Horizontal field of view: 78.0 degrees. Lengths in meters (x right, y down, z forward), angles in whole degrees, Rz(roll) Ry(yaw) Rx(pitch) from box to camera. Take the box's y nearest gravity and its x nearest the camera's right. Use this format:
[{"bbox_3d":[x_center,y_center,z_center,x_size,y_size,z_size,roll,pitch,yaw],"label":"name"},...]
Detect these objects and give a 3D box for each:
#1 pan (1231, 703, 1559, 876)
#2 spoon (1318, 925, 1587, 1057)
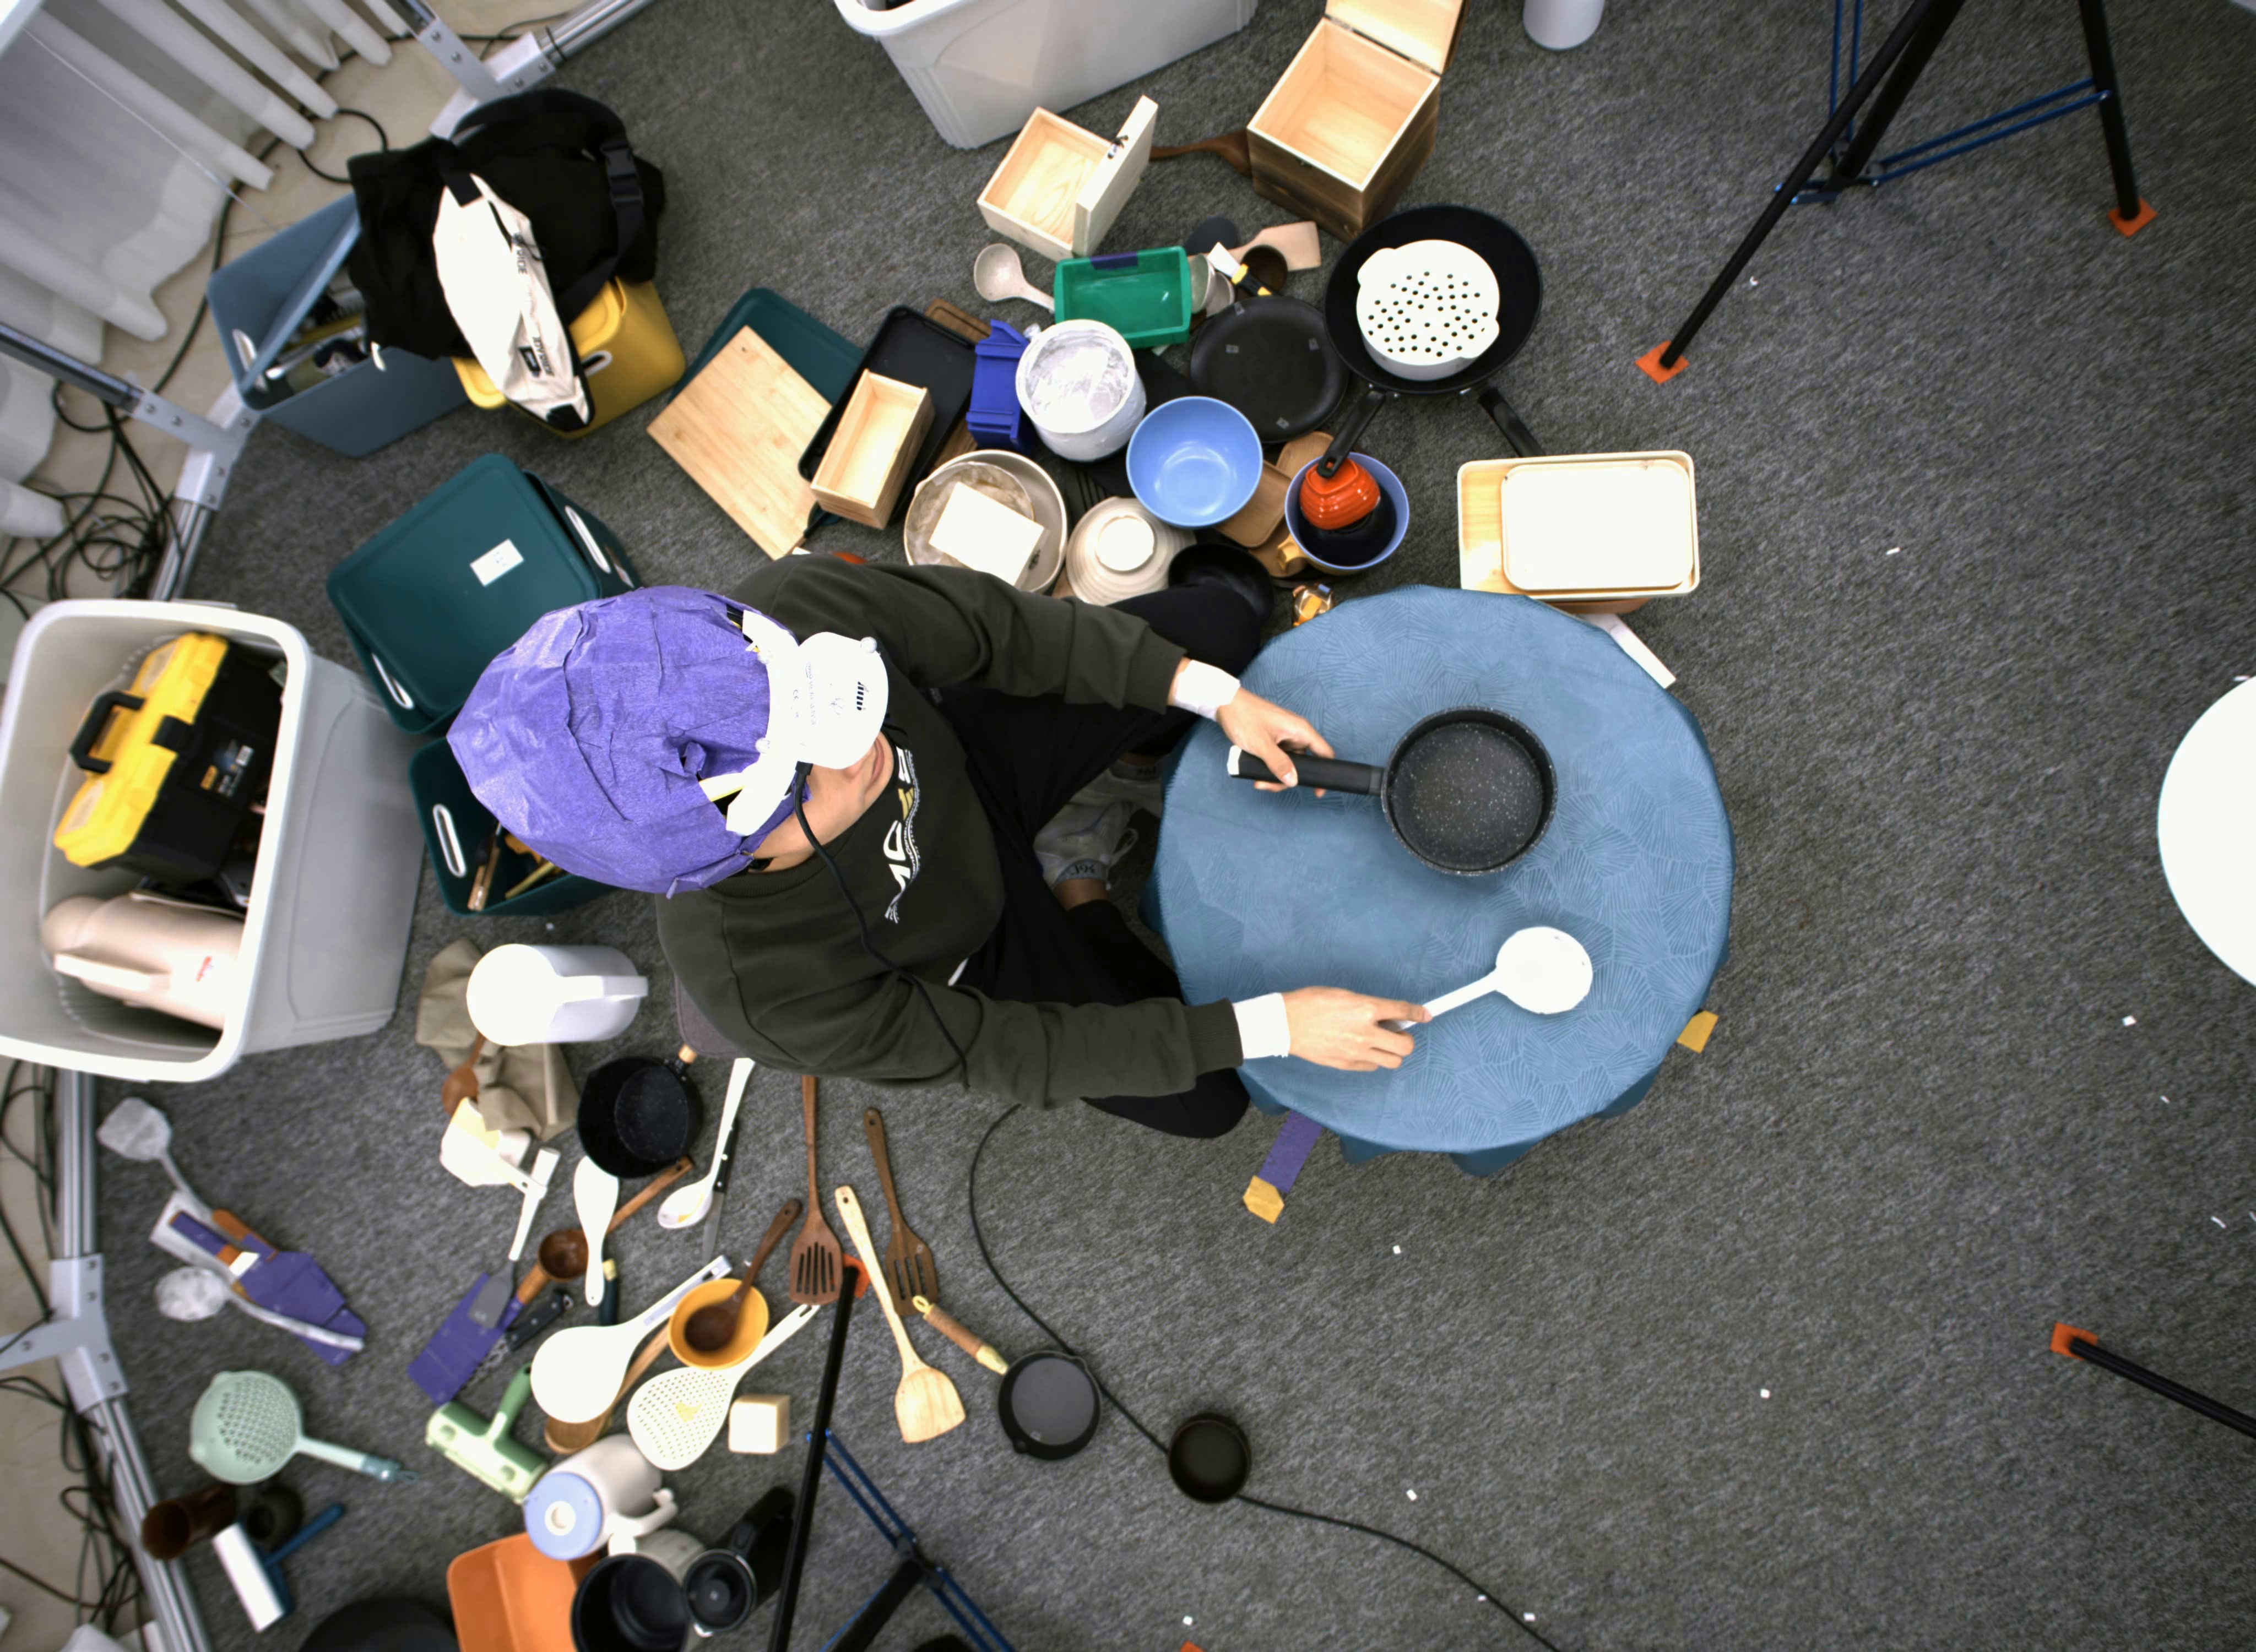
[{"bbox_3d":[0.270,-0.050,1.412,0.329,0.086,0.172,11,90,11],"label":"pan"},{"bbox_3d":[0.322,0.175,1.381,0.277,0.059,0.101,-21,99,-6],"label":"spoon"}]
